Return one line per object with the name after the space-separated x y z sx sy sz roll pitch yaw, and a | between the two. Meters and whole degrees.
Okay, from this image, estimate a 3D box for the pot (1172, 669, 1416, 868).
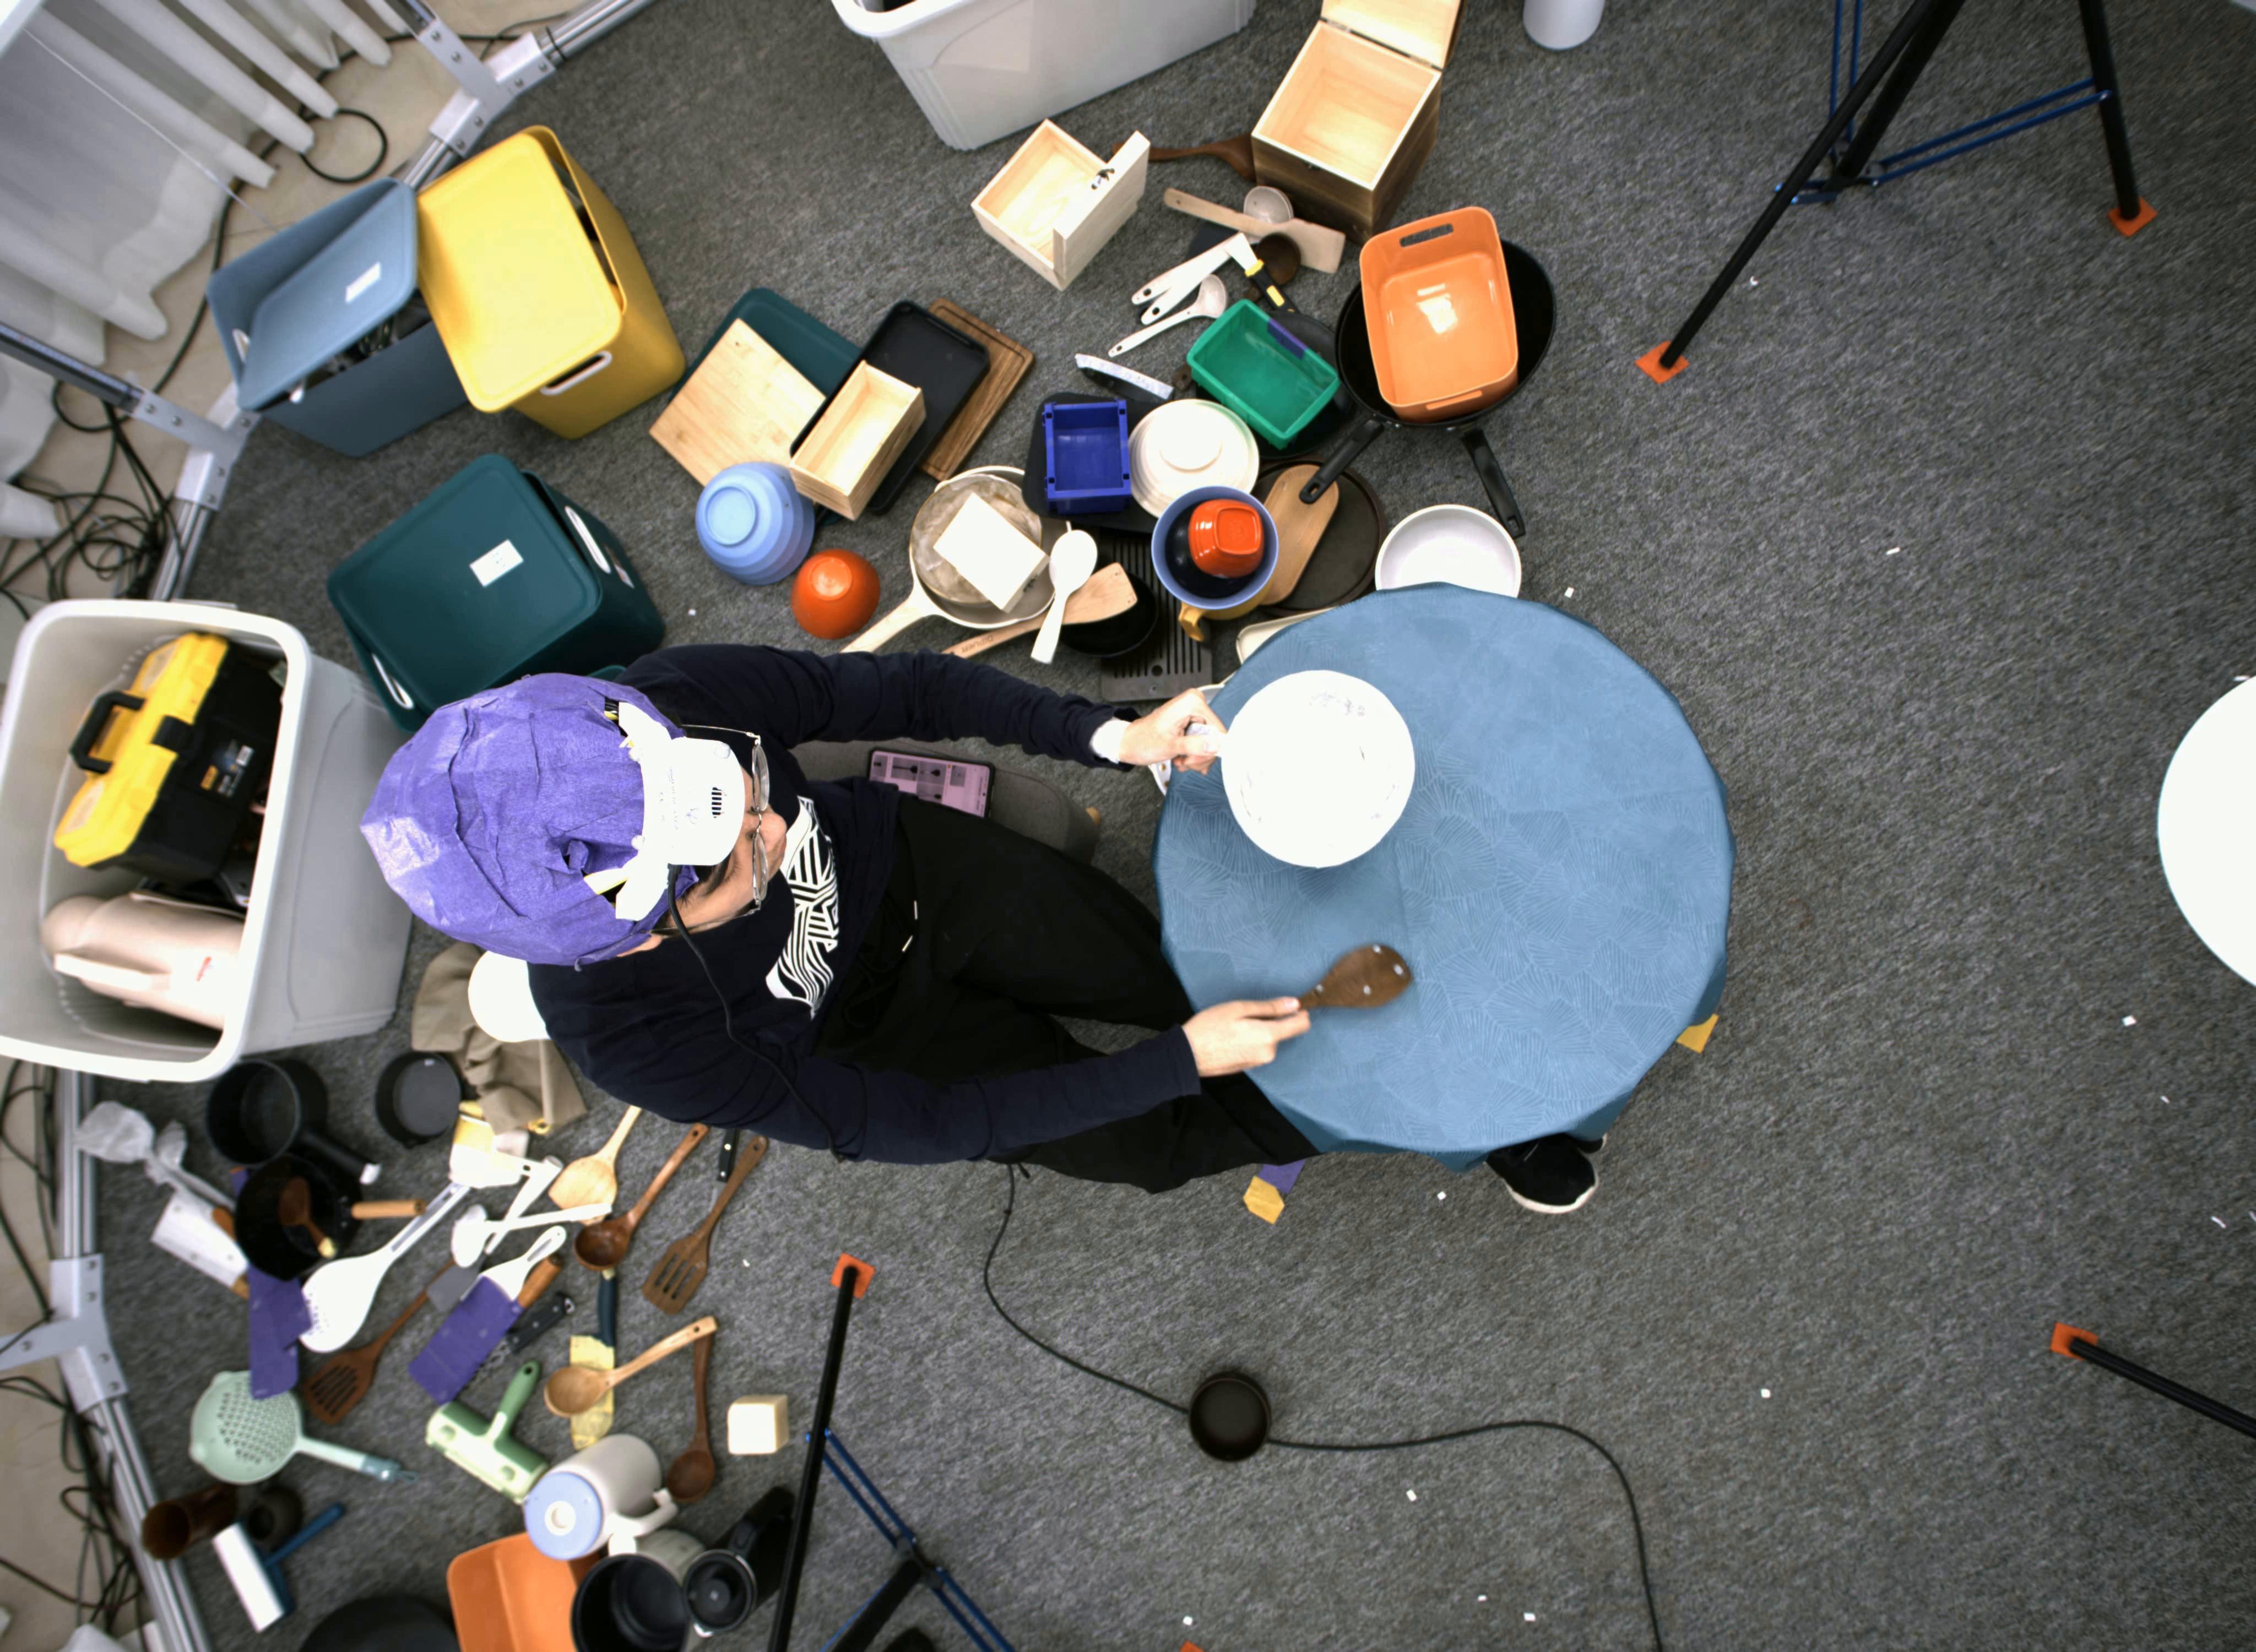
0.155 -0.058 1.336 0.234 0.137 0.178 13 86 6 | pot

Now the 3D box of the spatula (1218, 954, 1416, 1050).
0.194 0.187 1.439 0.216 0.009 0.070 -21 45 3 | spatula
